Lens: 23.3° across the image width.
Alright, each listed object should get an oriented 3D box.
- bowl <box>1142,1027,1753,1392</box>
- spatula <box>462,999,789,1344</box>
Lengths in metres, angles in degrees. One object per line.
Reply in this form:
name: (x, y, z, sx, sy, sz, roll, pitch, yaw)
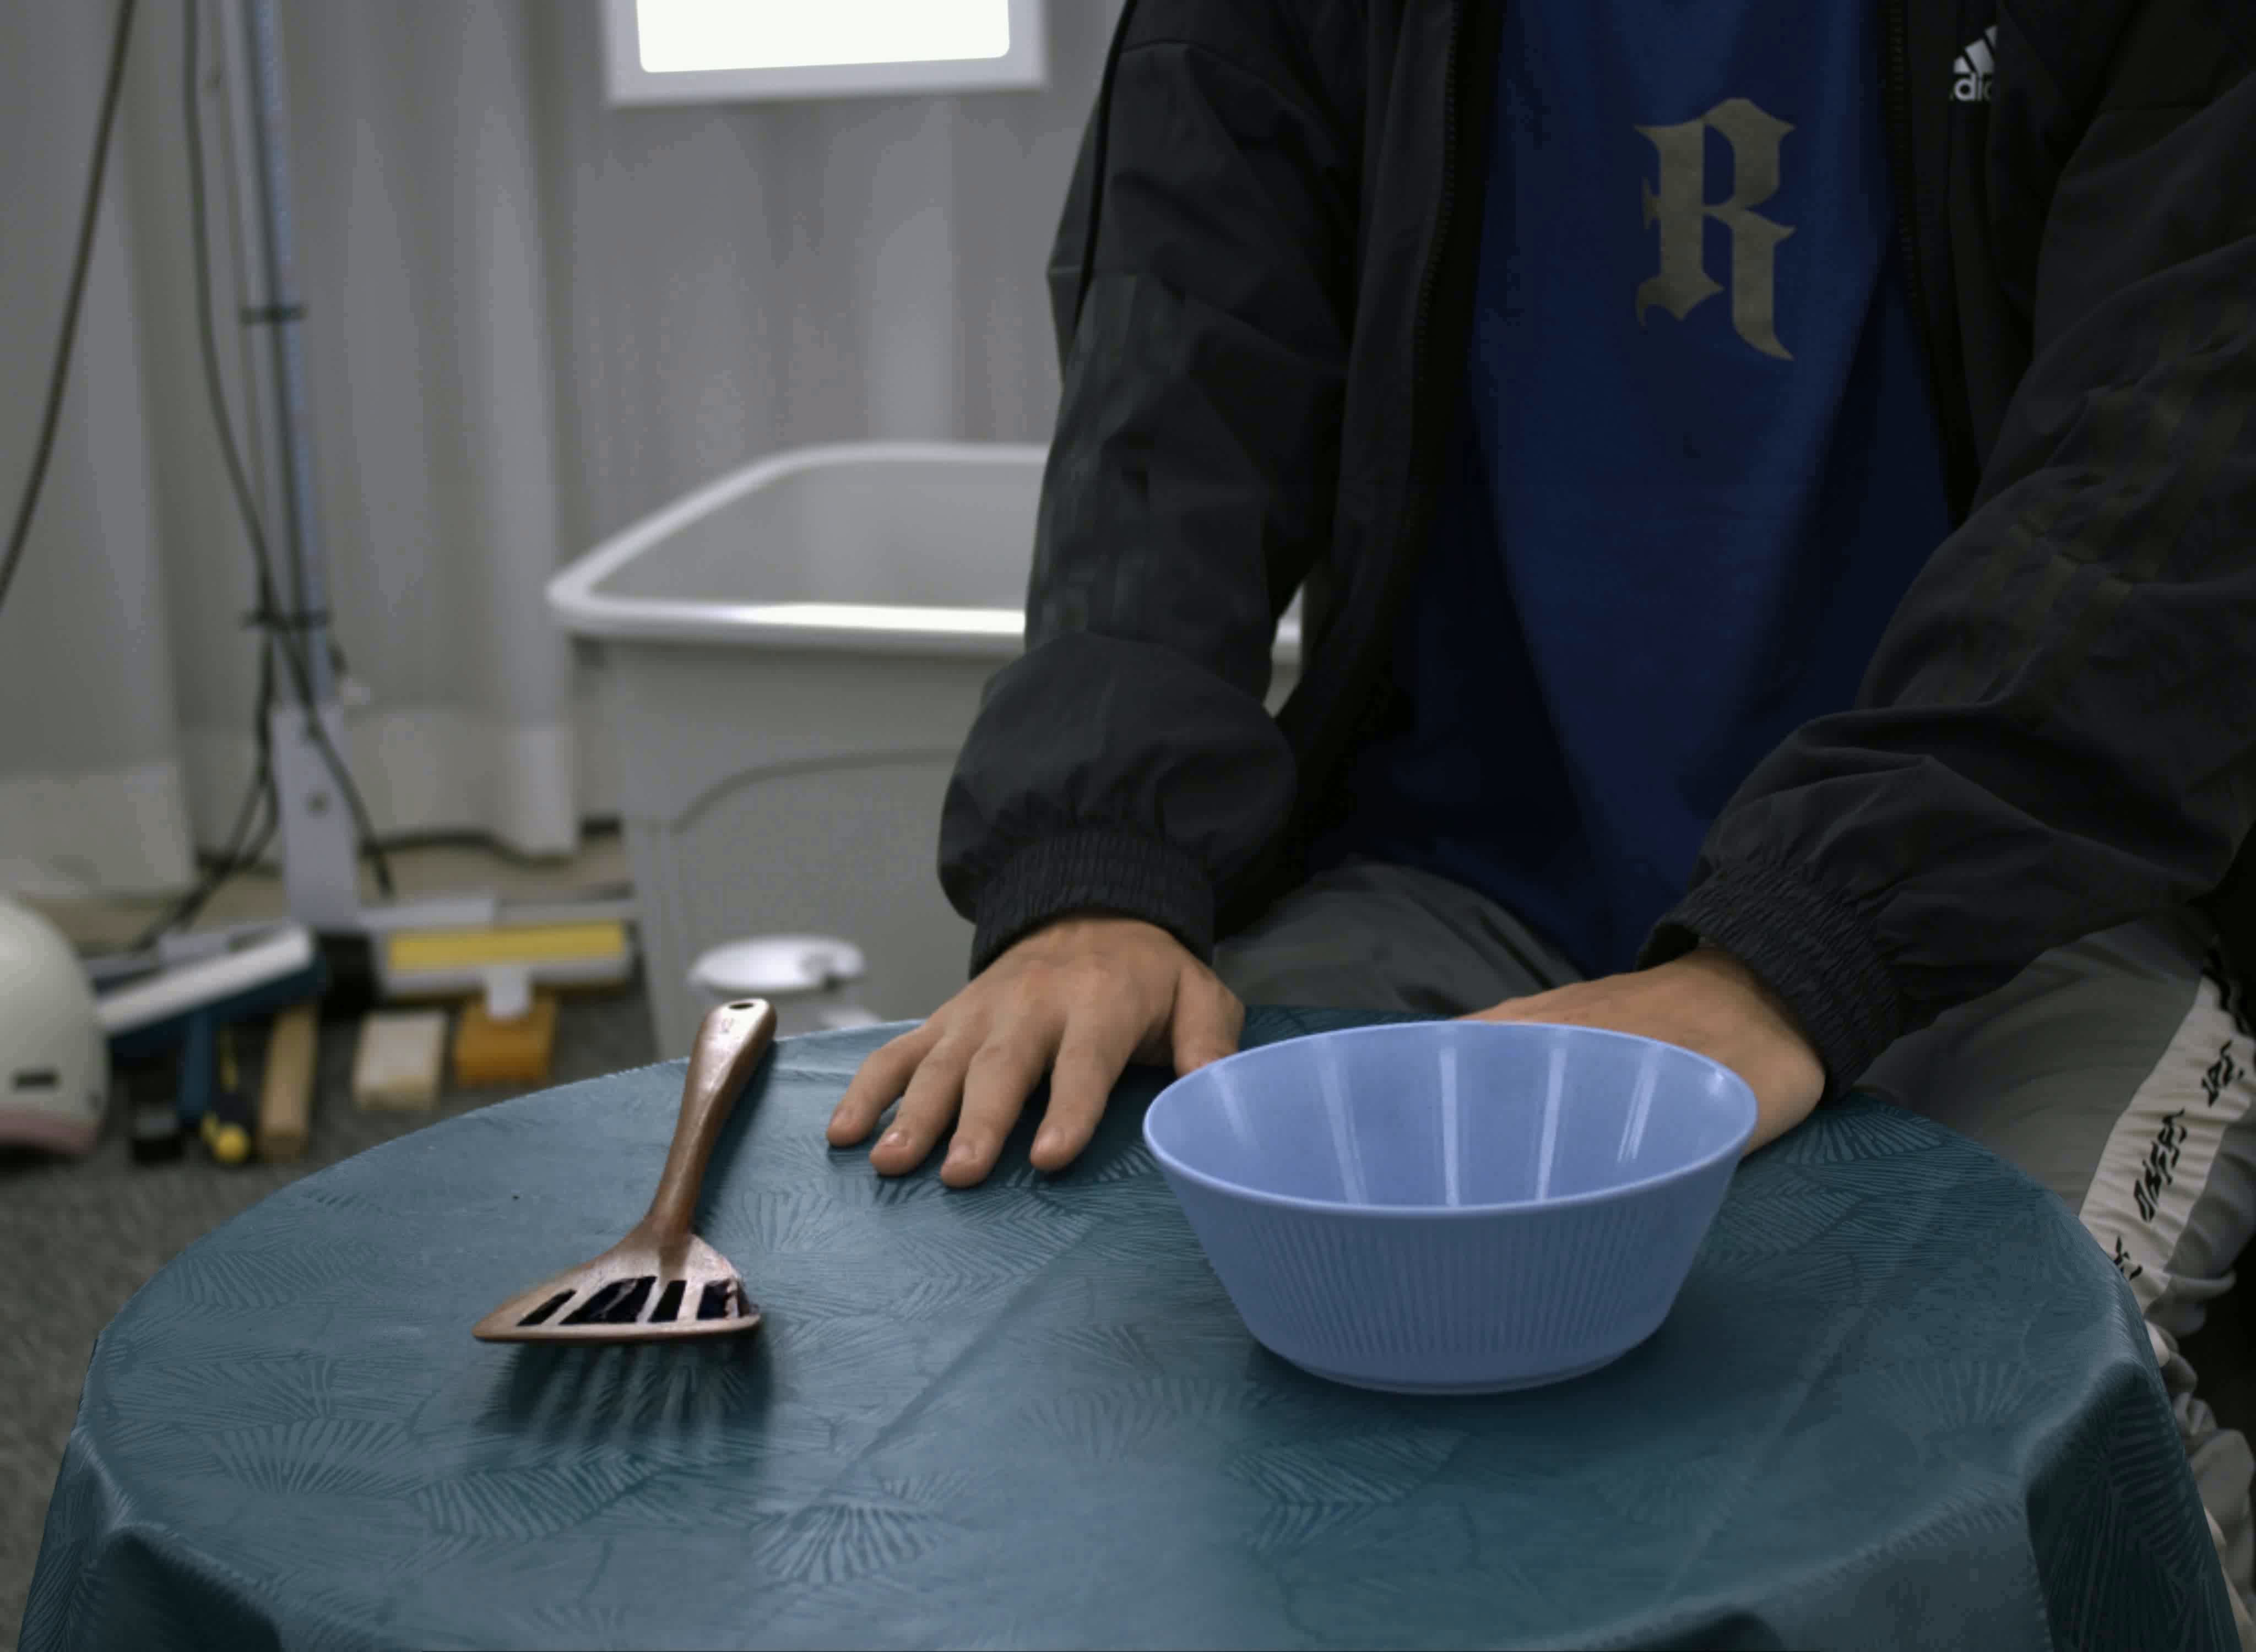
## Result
bowl: (0.092, 0.112, 1.566, 0.175, 0.070, 0.177, -2, 13, 0)
spatula: (-0.139, 0.110, 1.719, 0.085, 0.024, 0.389, -2, 13, 3)
